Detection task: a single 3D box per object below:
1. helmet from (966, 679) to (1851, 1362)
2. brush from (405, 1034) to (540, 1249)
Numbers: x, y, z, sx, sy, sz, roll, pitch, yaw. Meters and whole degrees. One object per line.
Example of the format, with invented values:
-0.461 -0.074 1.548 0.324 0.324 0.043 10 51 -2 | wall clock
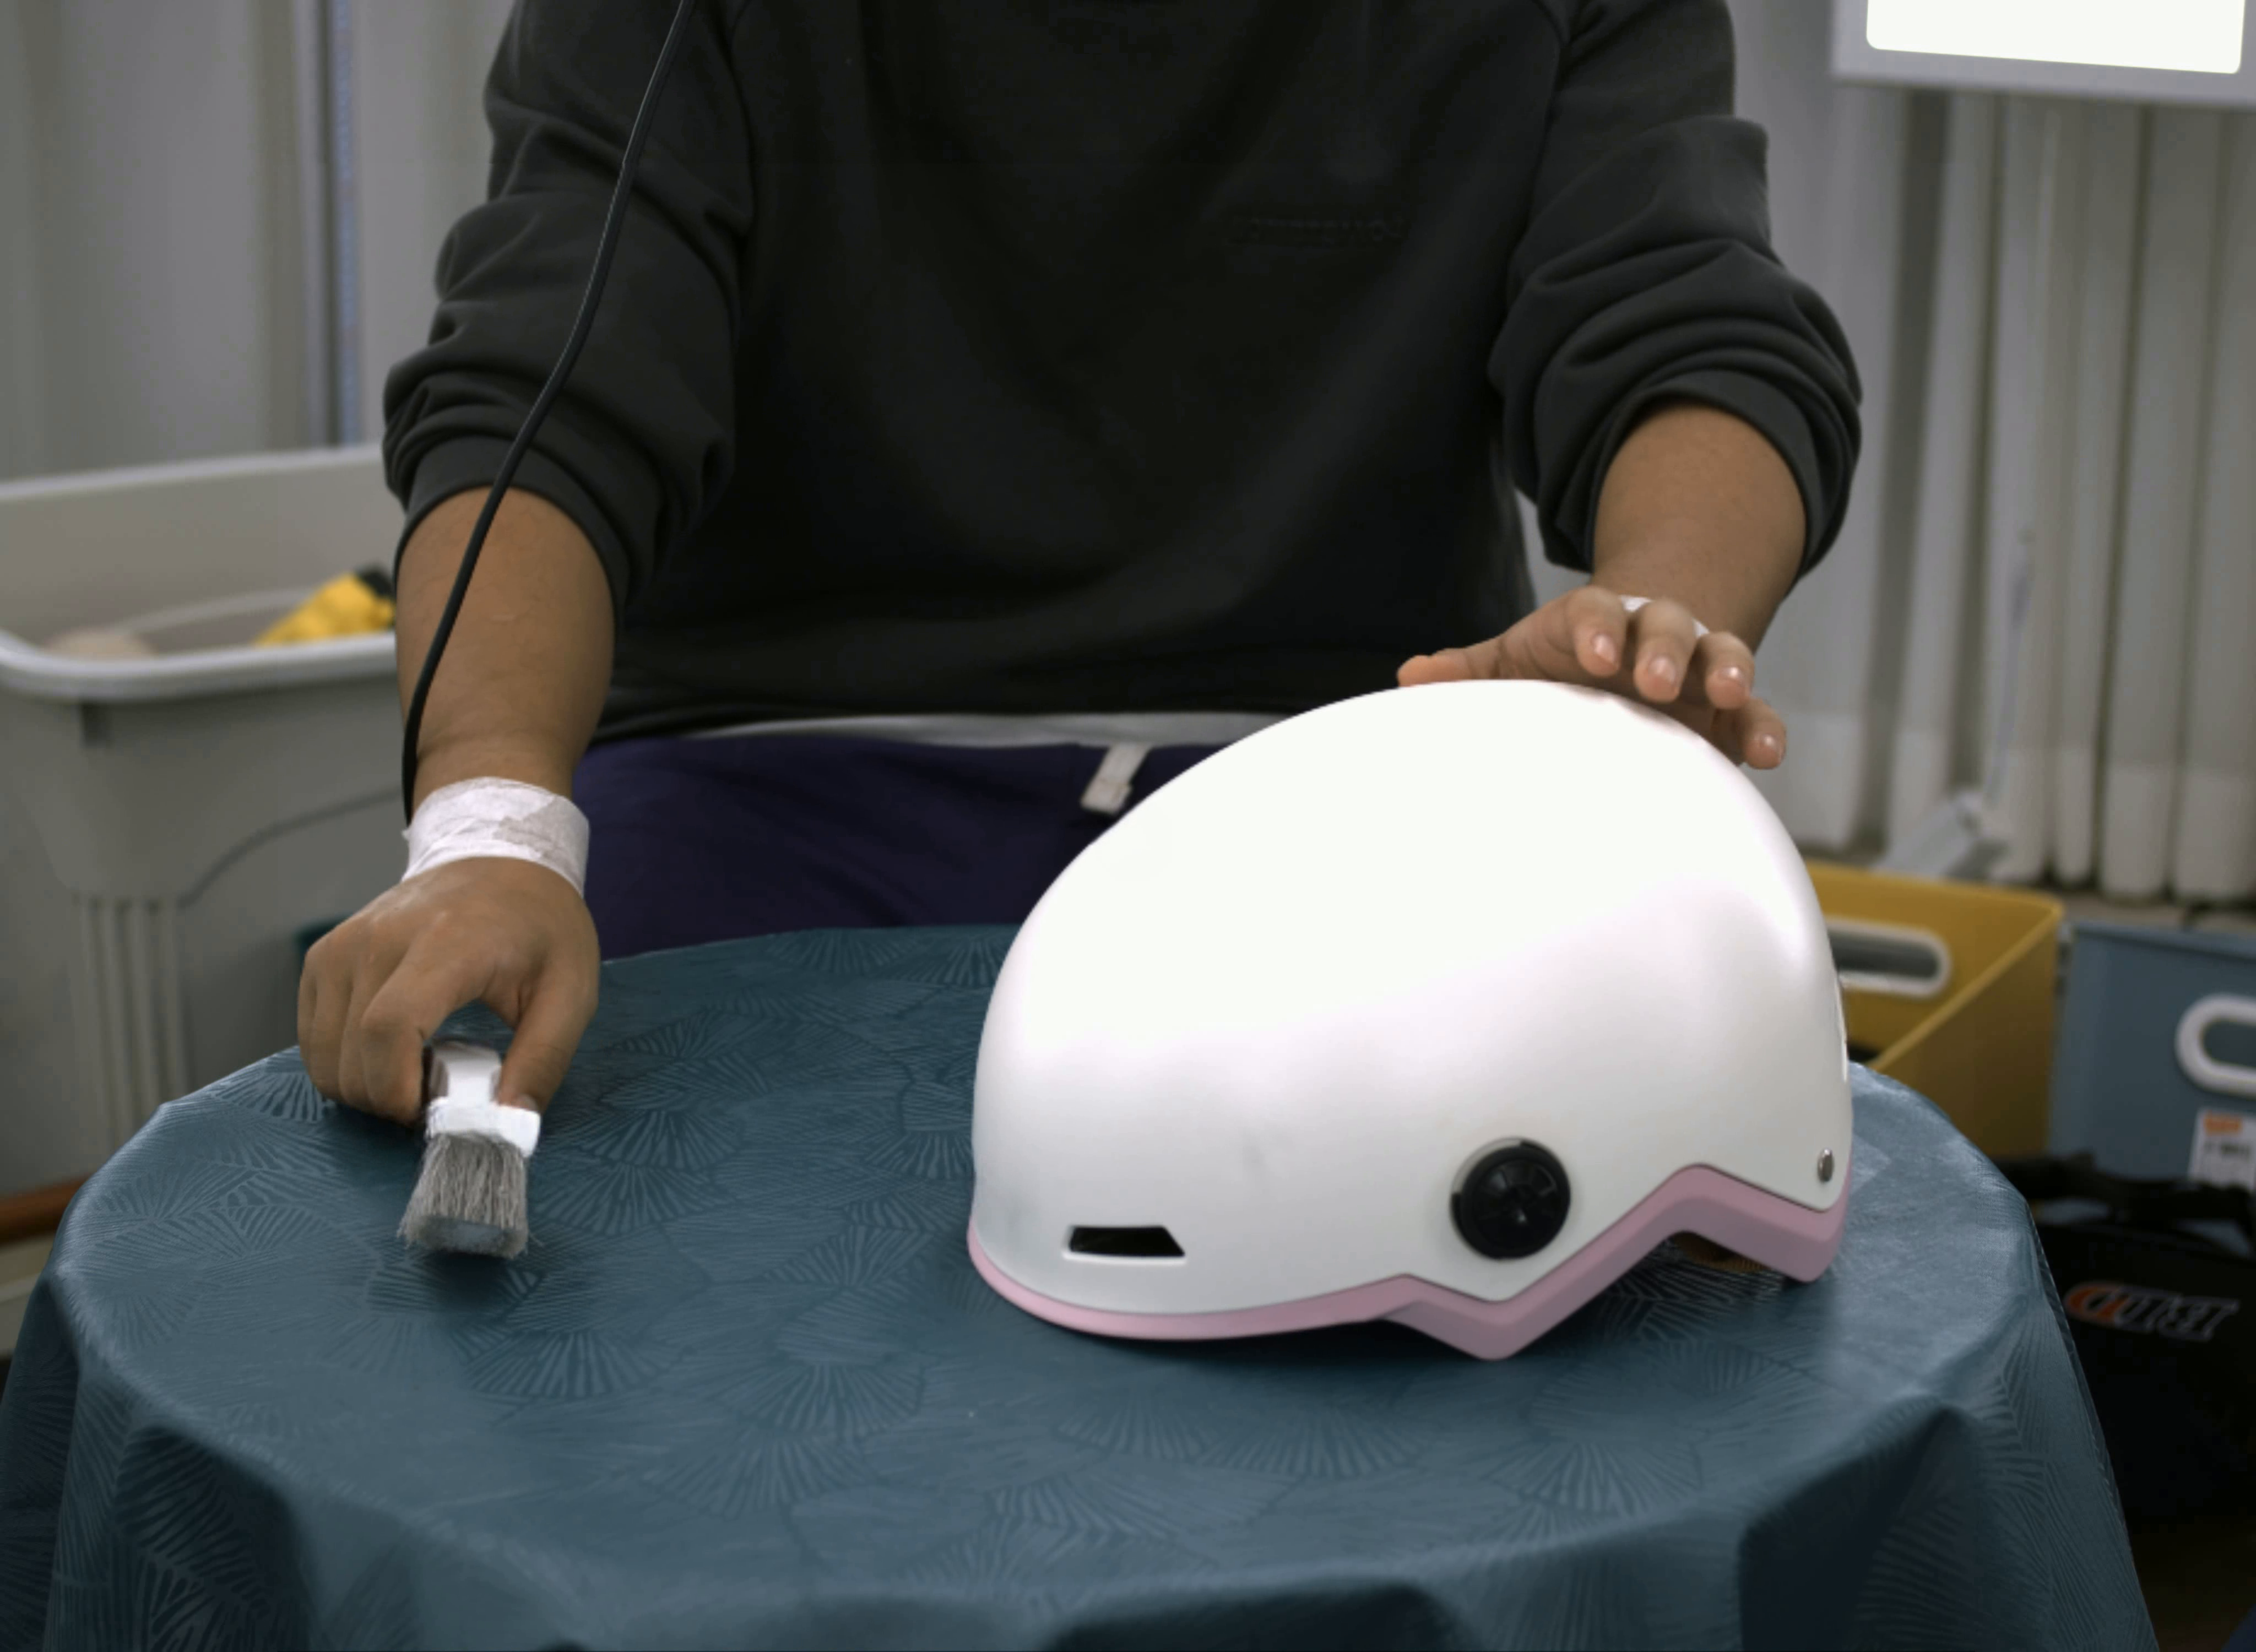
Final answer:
0.084 0.045 1.563 0.269 0.168 0.234 -7 18 -22 | helmet
-0.207 0.097 1.624 0.034 0.050 0.242 10 1 -10 | brush
